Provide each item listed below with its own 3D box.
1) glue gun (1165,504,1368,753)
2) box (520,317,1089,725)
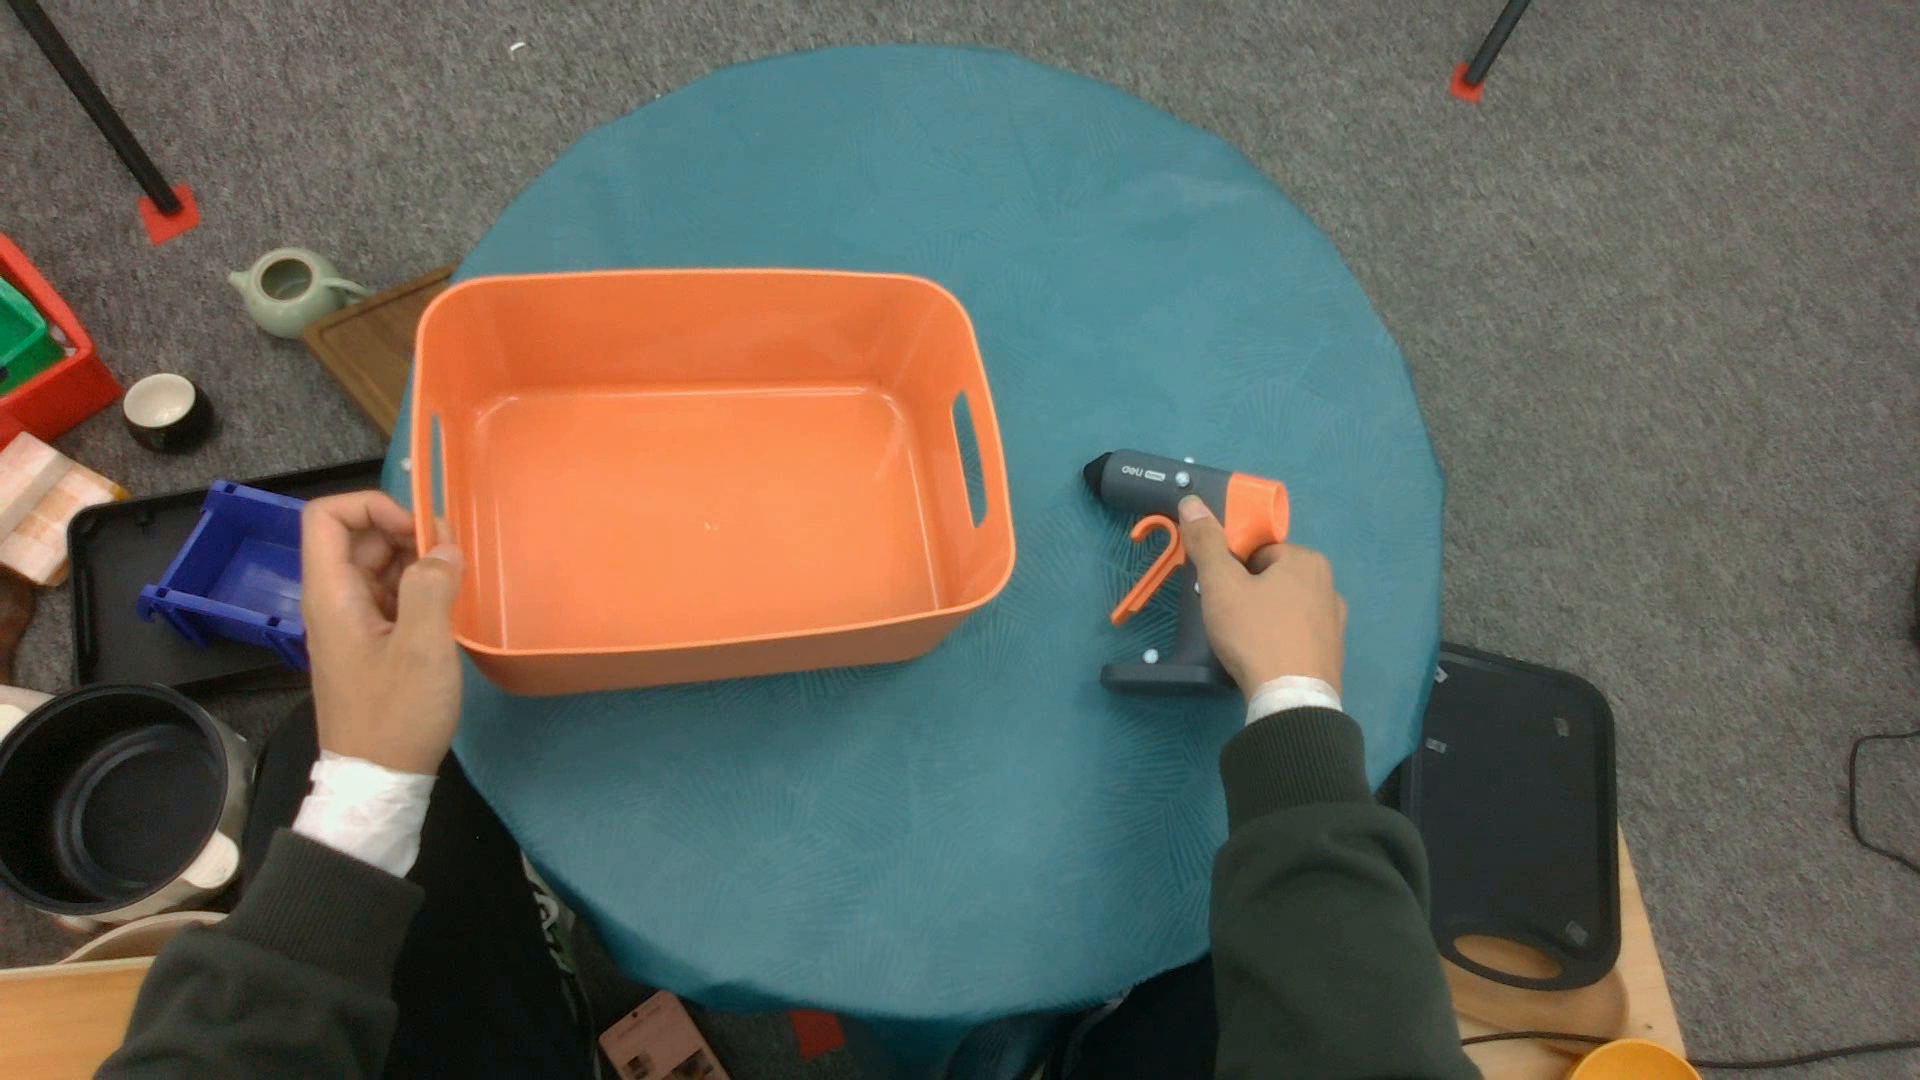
[{"bbox_3d":[0.159,0.043,0.753,0.117,0.041,0.140,-5,65,35],"label":"glue gun"},{"bbox_3d":[-0.082,-0.005,0.715,0.273,0.102,0.200,-2,66,-14],"label":"box"}]
